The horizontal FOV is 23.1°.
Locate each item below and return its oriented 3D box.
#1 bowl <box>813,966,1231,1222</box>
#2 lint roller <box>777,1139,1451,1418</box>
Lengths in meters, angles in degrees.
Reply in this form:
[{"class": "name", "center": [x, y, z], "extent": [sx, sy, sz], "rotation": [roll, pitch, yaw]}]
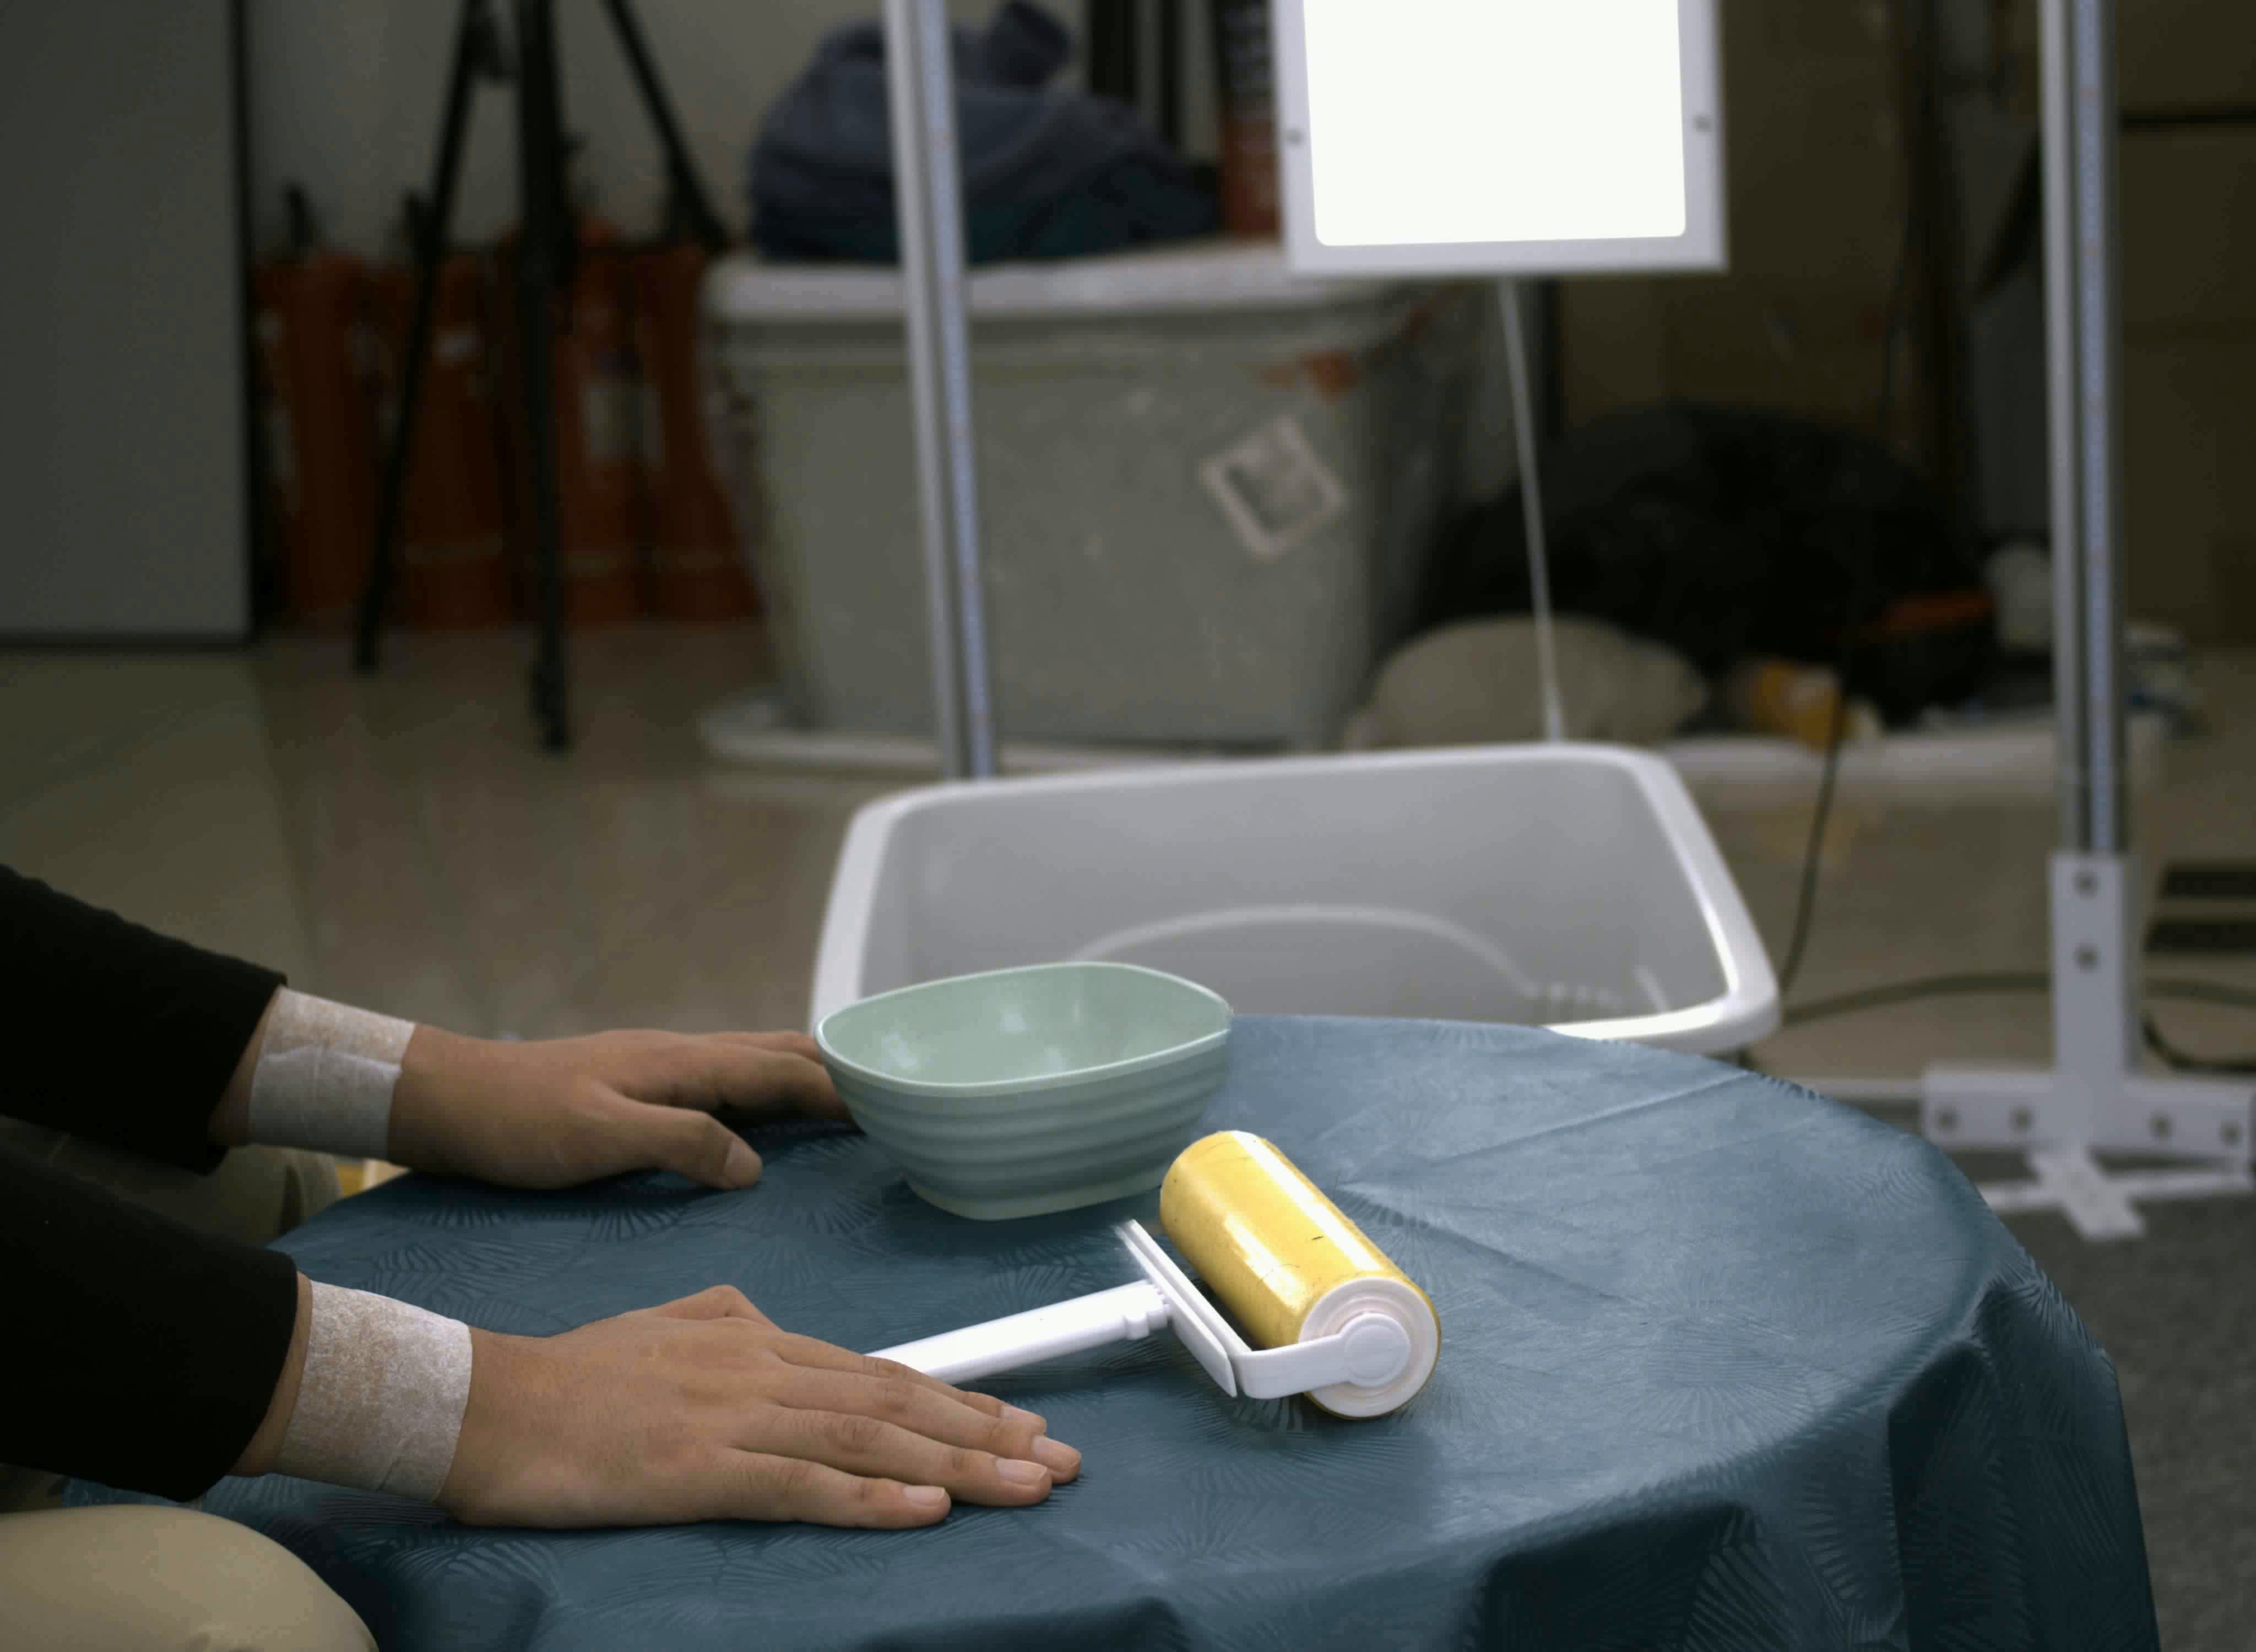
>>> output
[{"class": "bowl", "center": [-0.036, 0.096, 1.917], "extent": [0.151, 0.059, 0.151], "rotation": [-3, 14, -1]}, {"class": "lint roller", "center": [-0.015, 0.147, 1.711], "extent": [0.189, 0.051, 0.176], "rotation": [-4, 13, -14]}]
